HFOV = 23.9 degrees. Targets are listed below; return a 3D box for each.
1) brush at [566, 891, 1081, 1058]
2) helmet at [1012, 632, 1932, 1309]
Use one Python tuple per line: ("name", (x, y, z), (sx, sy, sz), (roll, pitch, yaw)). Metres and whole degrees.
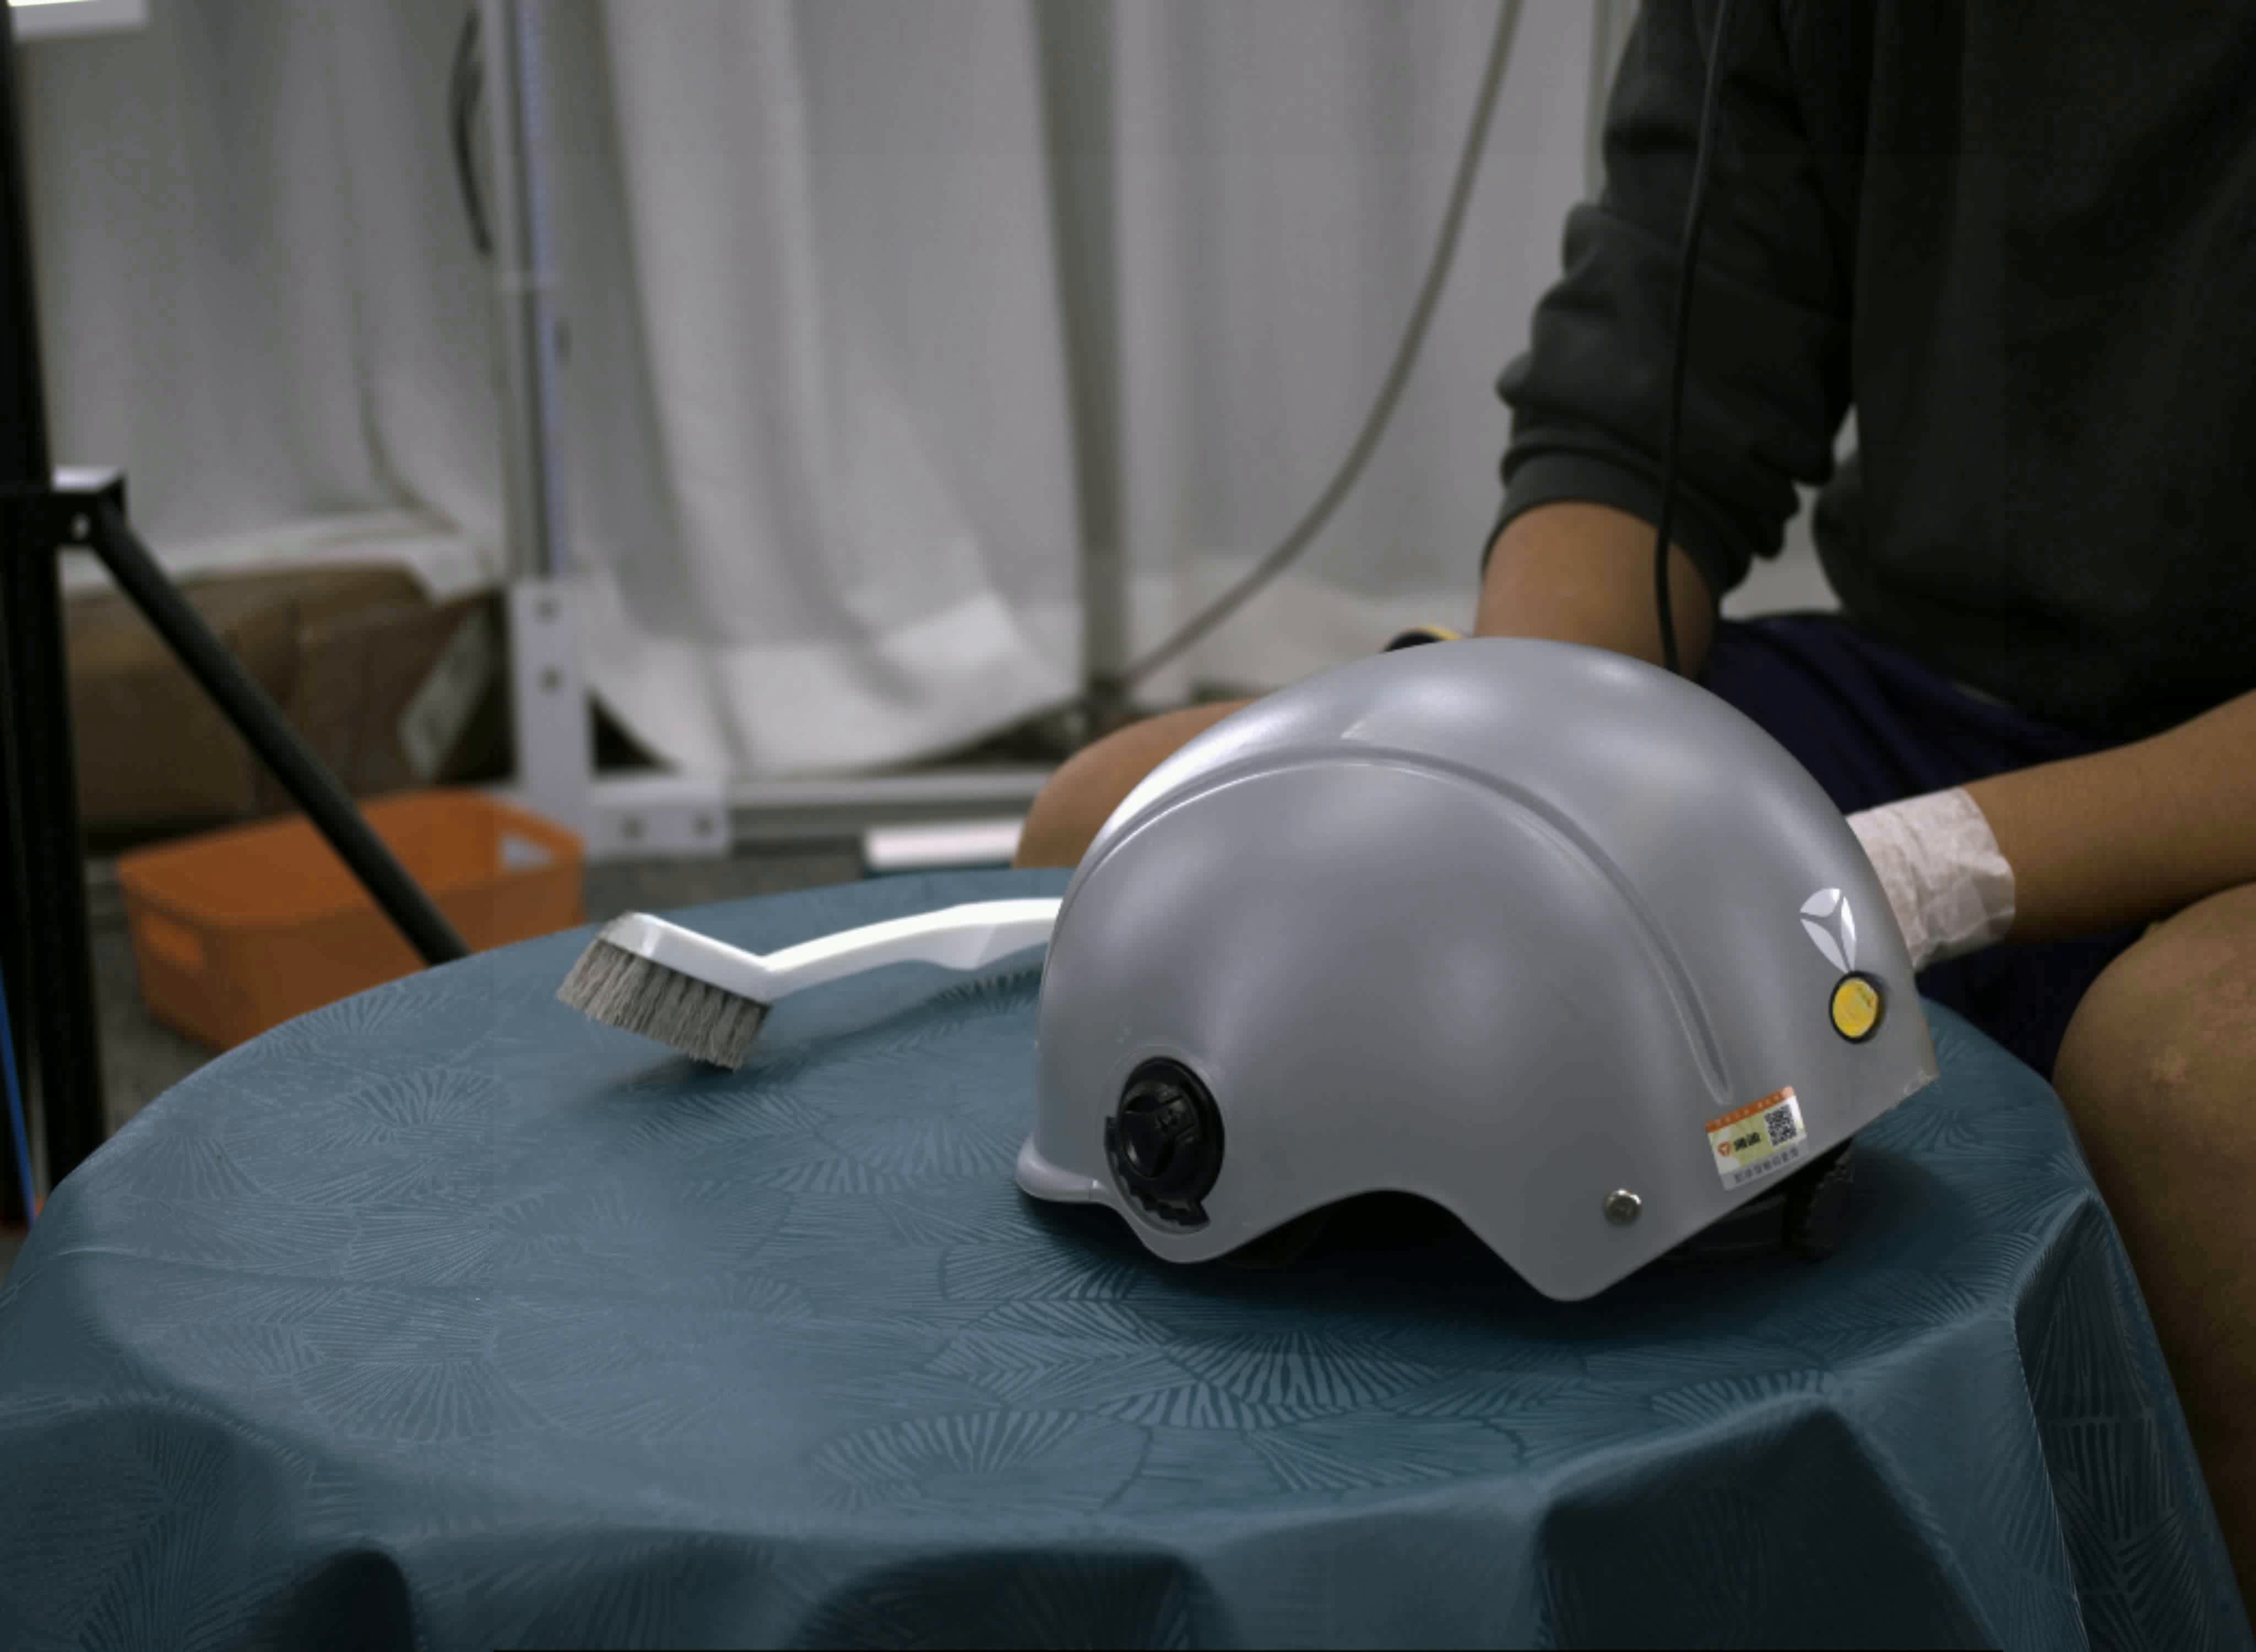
("brush", (-0.079, 0.049, 1.739), (0.237, 0.050, 0.035), (1, 13, -42))
("helmet", (0.092, 0.029, 1.525), (0.282, 0.169, 0.227), (6, 17, 35))
